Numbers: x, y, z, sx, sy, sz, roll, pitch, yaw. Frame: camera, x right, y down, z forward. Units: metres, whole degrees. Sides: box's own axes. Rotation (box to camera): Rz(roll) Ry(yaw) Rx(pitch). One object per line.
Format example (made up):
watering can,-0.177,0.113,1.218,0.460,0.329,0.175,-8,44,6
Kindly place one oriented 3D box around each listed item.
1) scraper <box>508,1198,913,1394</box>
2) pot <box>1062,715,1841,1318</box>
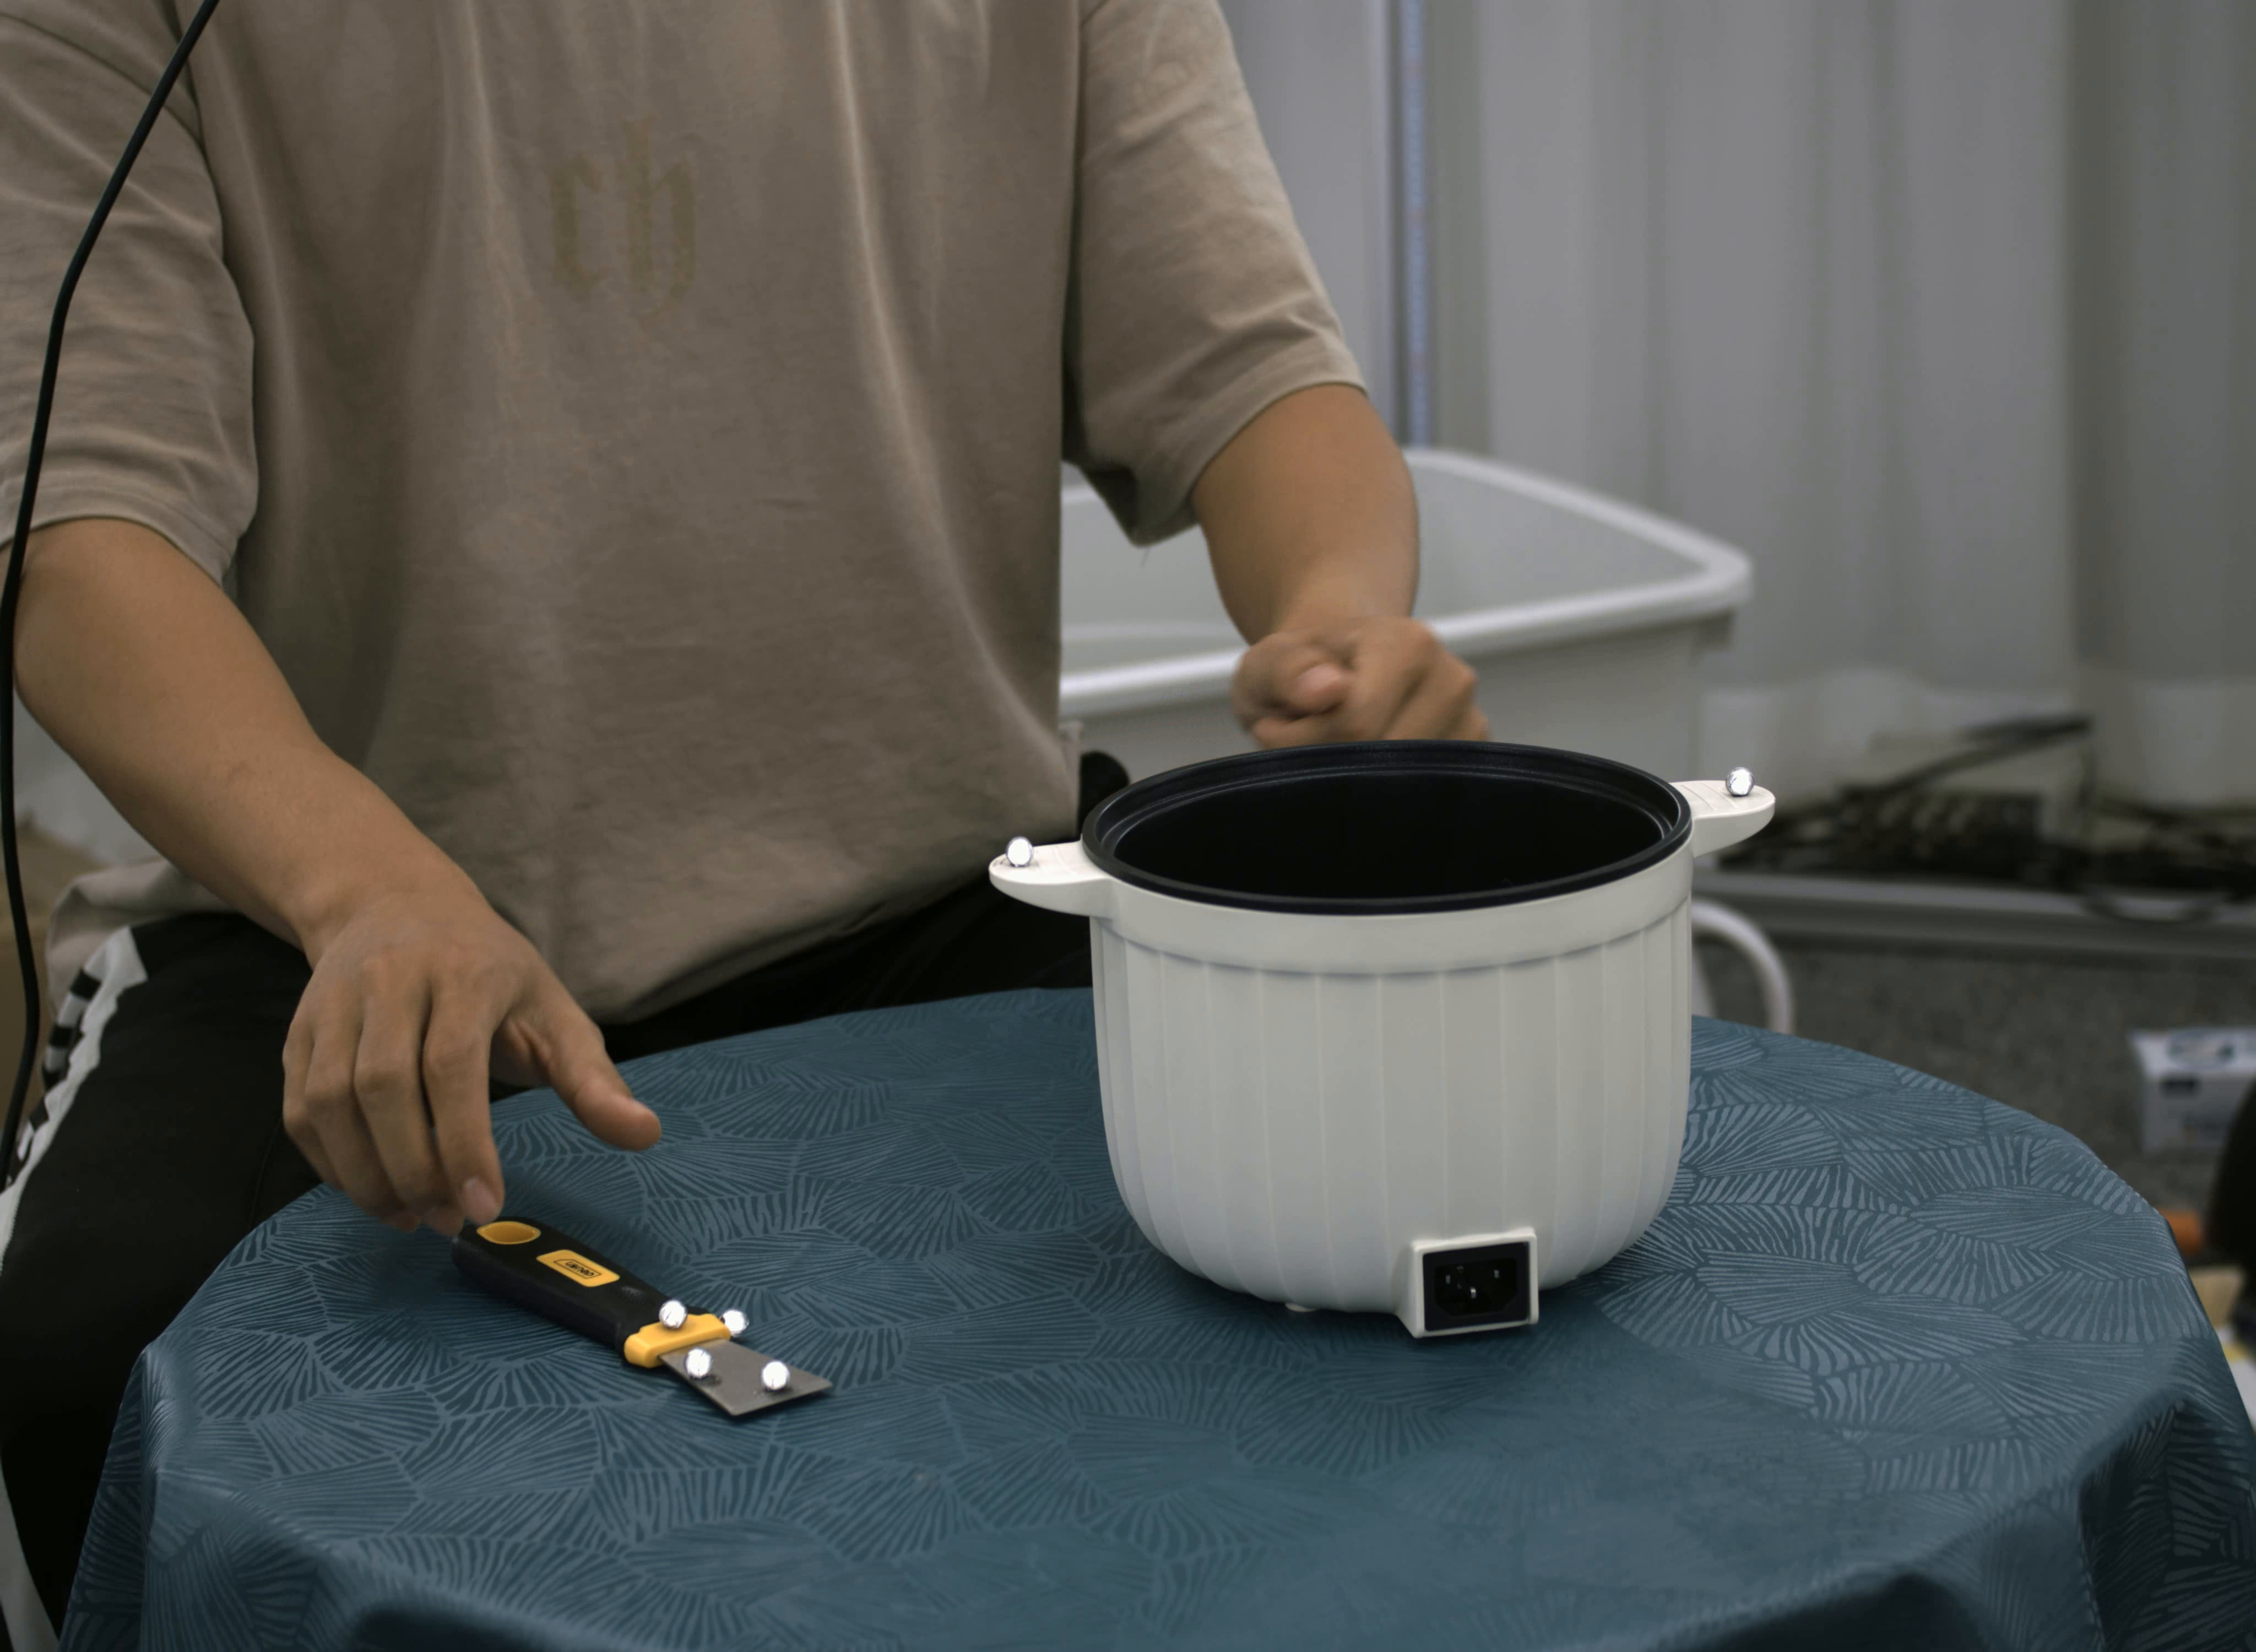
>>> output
scraper,-0.128,0.137,1.605,0.039,0.015,0.172,-19,23,-35
pot,0.097,0.054,1.642,0.239,0.142,0.192,-5,18,-13
